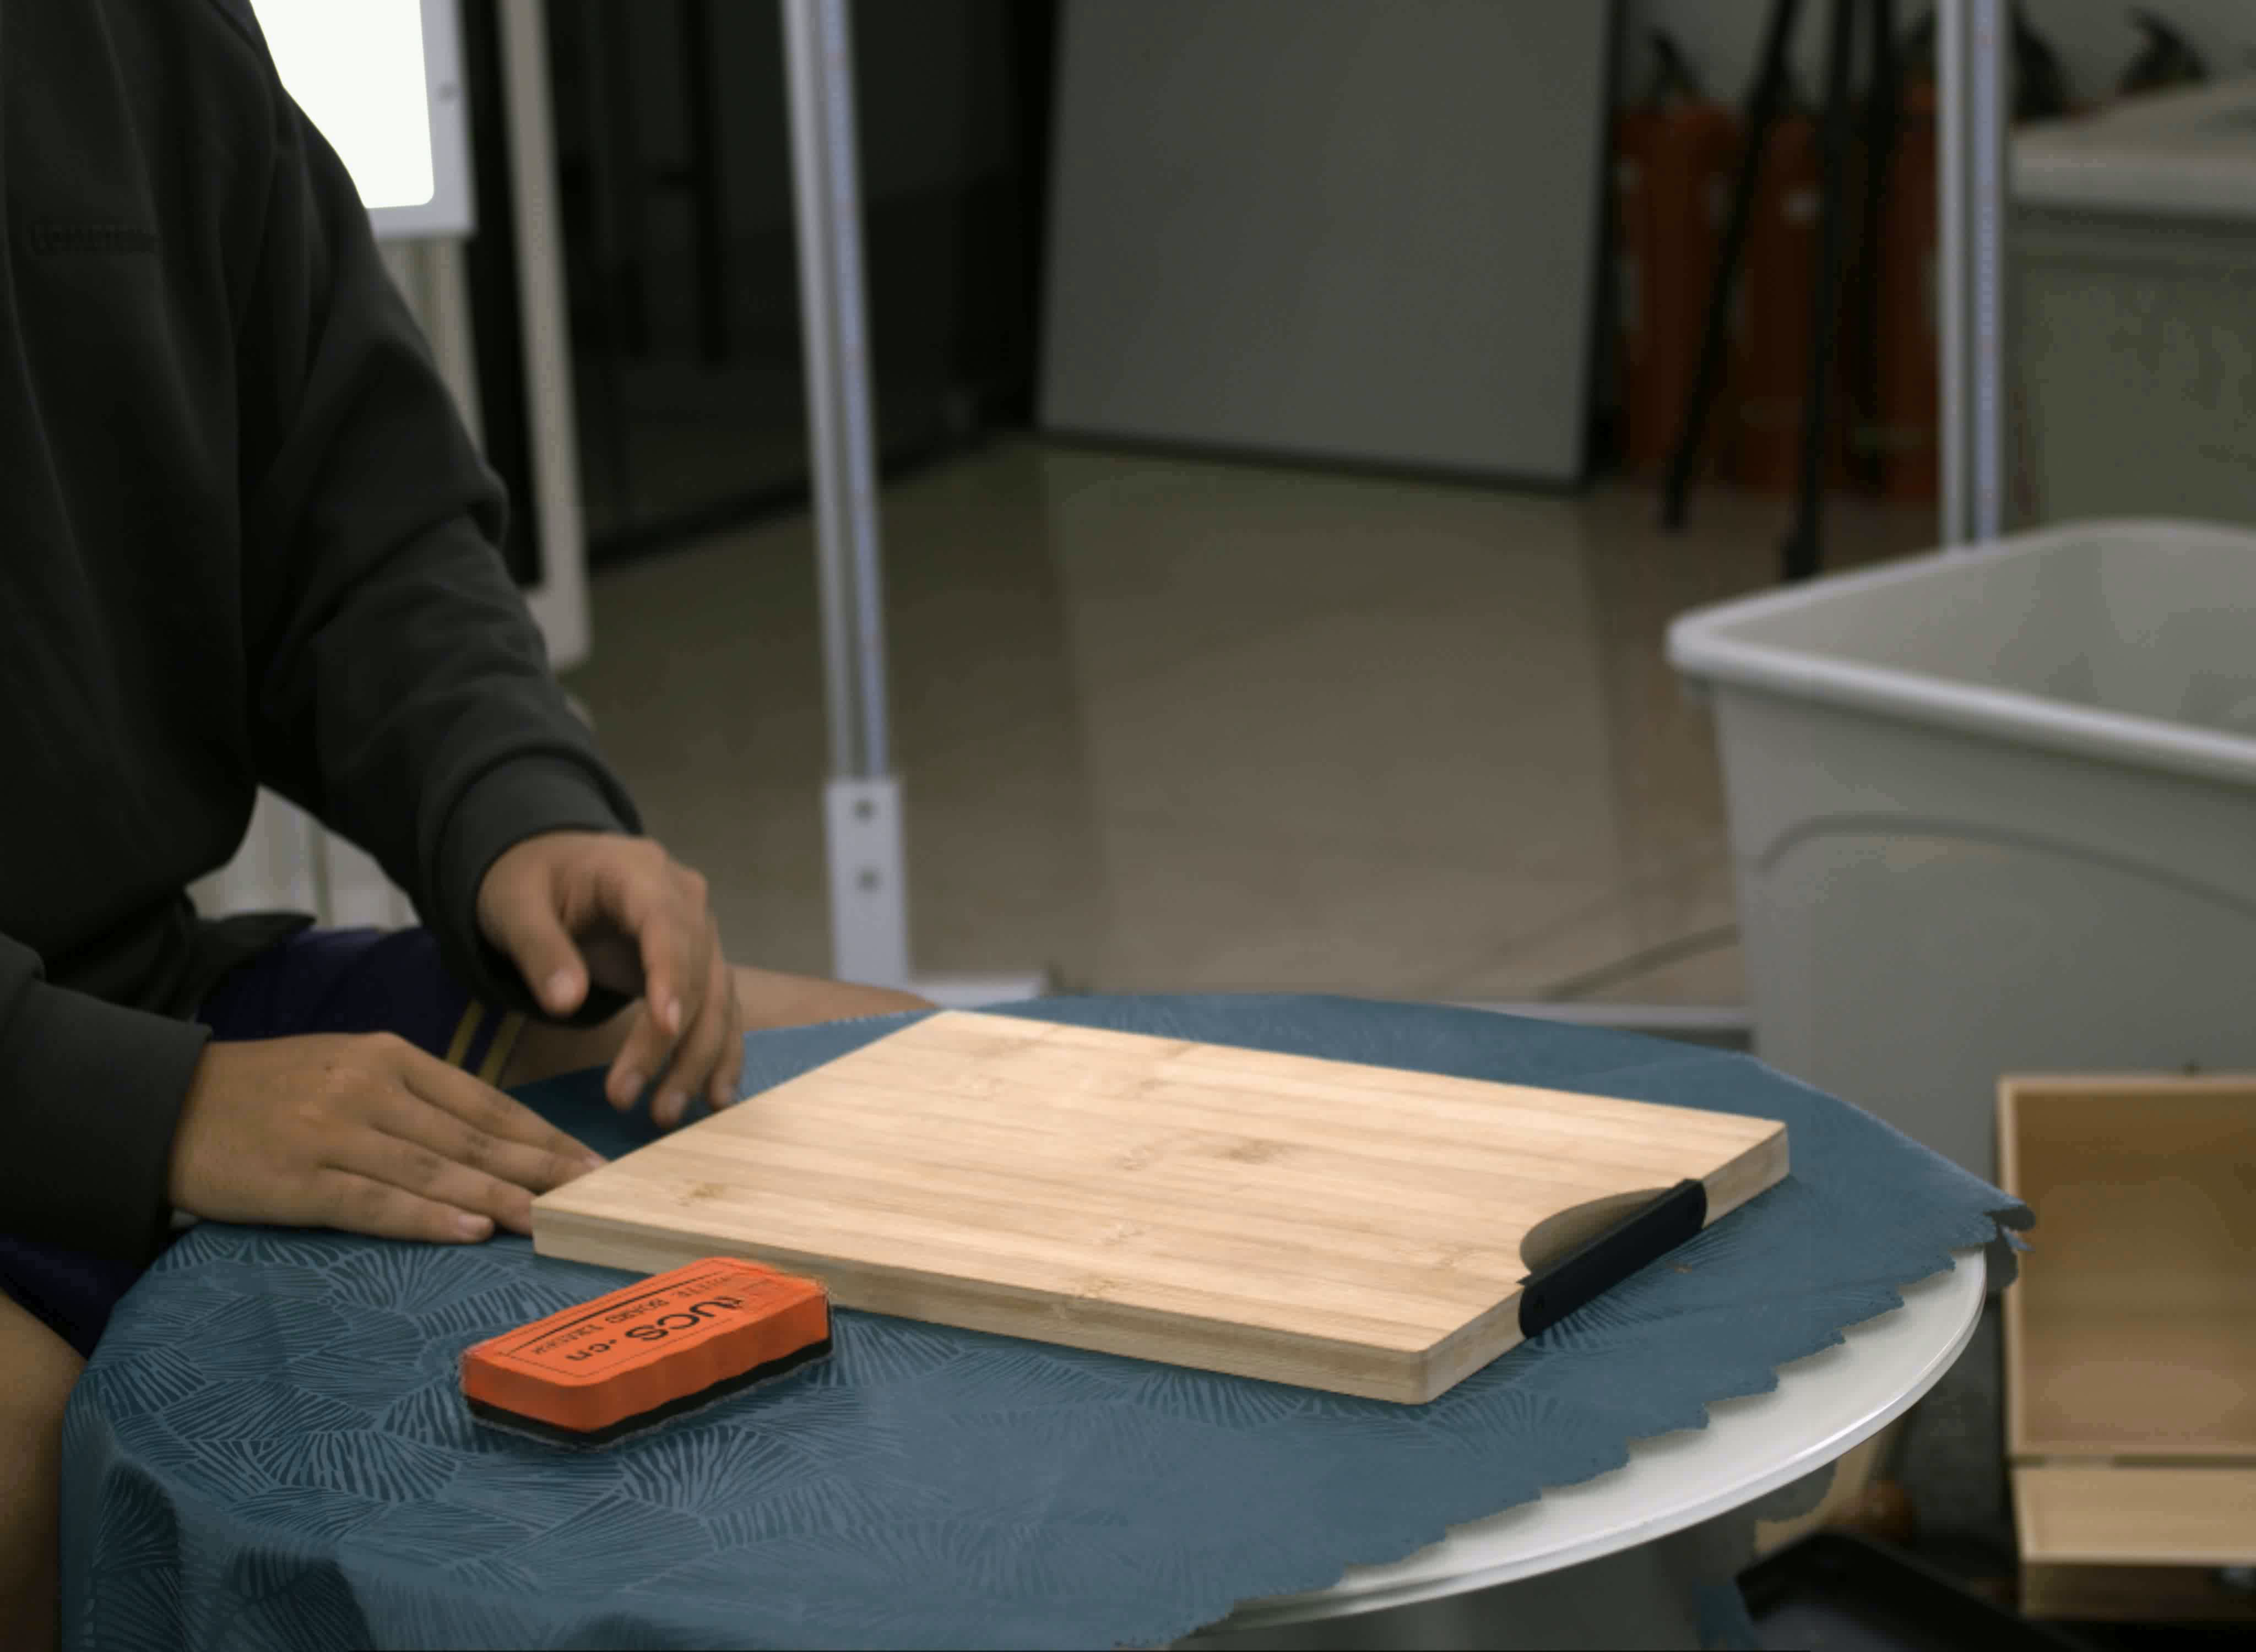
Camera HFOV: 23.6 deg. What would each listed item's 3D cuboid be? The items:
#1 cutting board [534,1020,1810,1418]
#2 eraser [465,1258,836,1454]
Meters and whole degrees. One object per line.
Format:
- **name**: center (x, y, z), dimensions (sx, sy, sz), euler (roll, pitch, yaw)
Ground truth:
- **cutting board**: center (0.015, 0.119, 1.738), dimensions (0.350, 0.024, 0.246), euler (5, 17, 34)
- **eraser**: center (-0.141, 0.157, 1.611), dimensions (0.059, 0.023, 0.106), euler (11, 19, 43)
